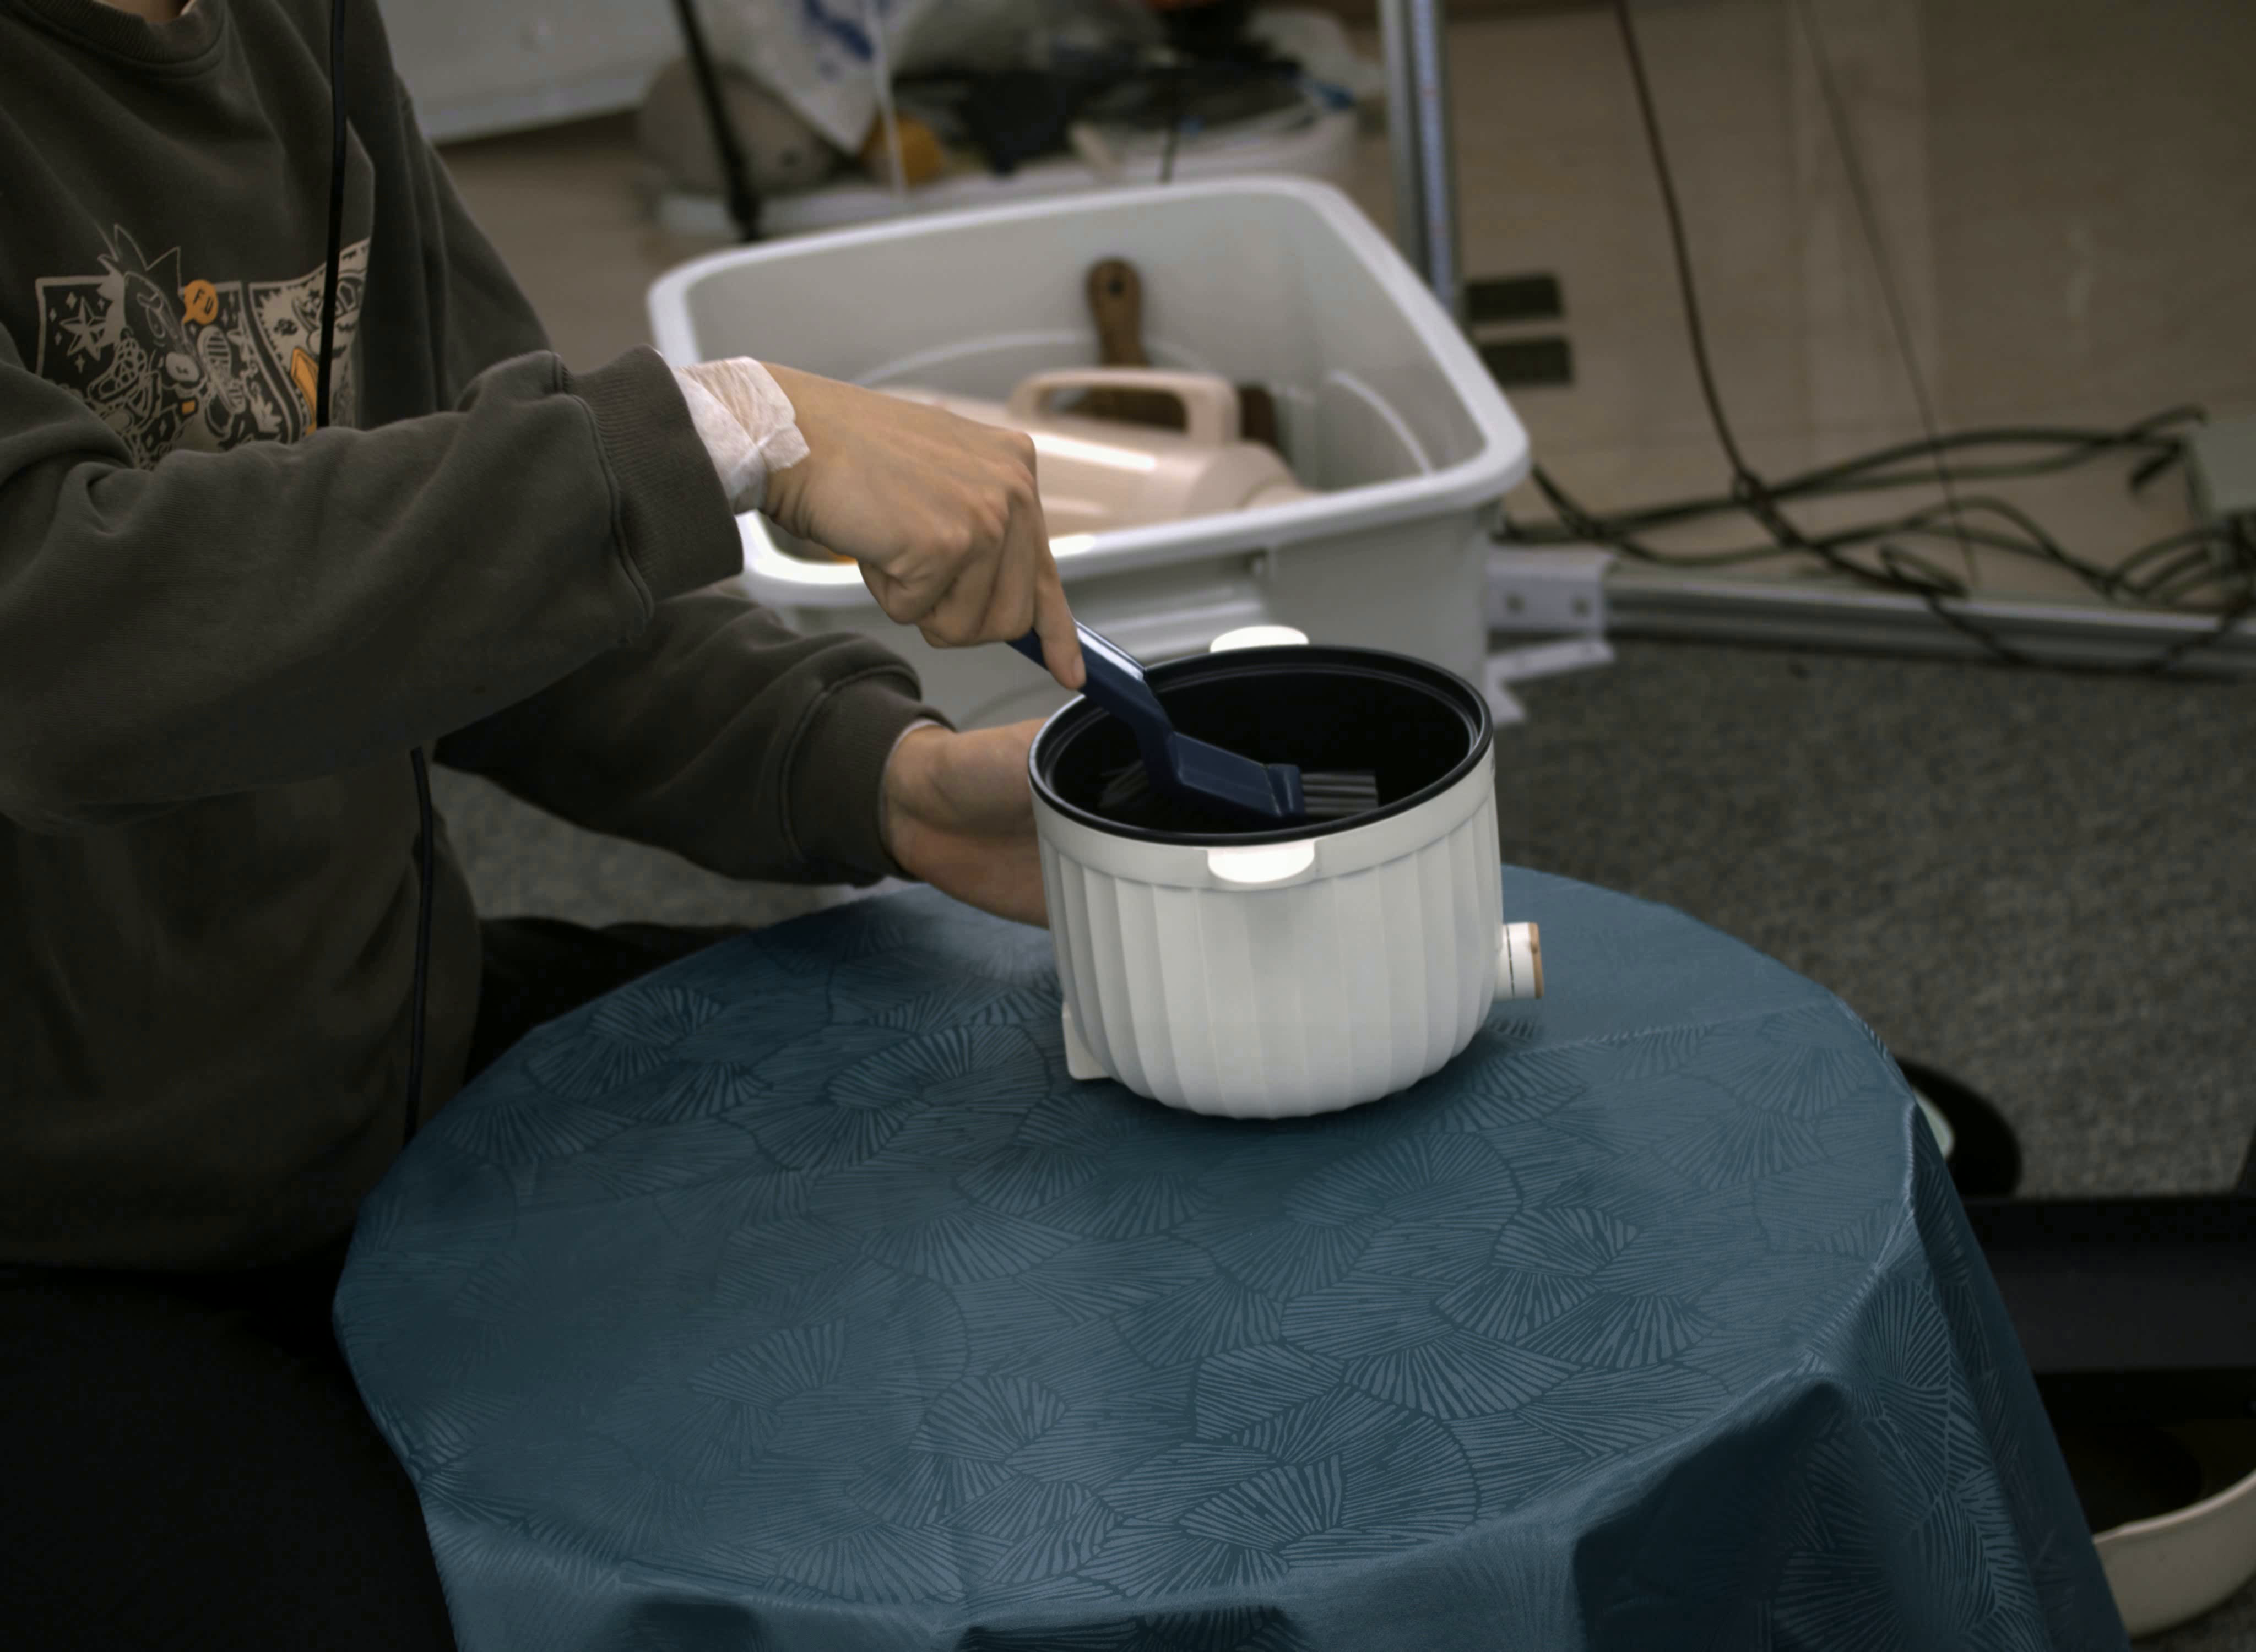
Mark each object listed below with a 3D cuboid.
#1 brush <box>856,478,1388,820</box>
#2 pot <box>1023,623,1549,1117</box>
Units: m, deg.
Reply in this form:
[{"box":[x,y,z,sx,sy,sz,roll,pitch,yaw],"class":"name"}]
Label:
[{"box":[-0.004,-0.060,2.140,0.096,0.277,0.033,-19,54,24],"class":"brush"},{"box":[0.063,0.023,2.210,0.190,0.145,0.237,-9,27,5],"class":"pot"}]
